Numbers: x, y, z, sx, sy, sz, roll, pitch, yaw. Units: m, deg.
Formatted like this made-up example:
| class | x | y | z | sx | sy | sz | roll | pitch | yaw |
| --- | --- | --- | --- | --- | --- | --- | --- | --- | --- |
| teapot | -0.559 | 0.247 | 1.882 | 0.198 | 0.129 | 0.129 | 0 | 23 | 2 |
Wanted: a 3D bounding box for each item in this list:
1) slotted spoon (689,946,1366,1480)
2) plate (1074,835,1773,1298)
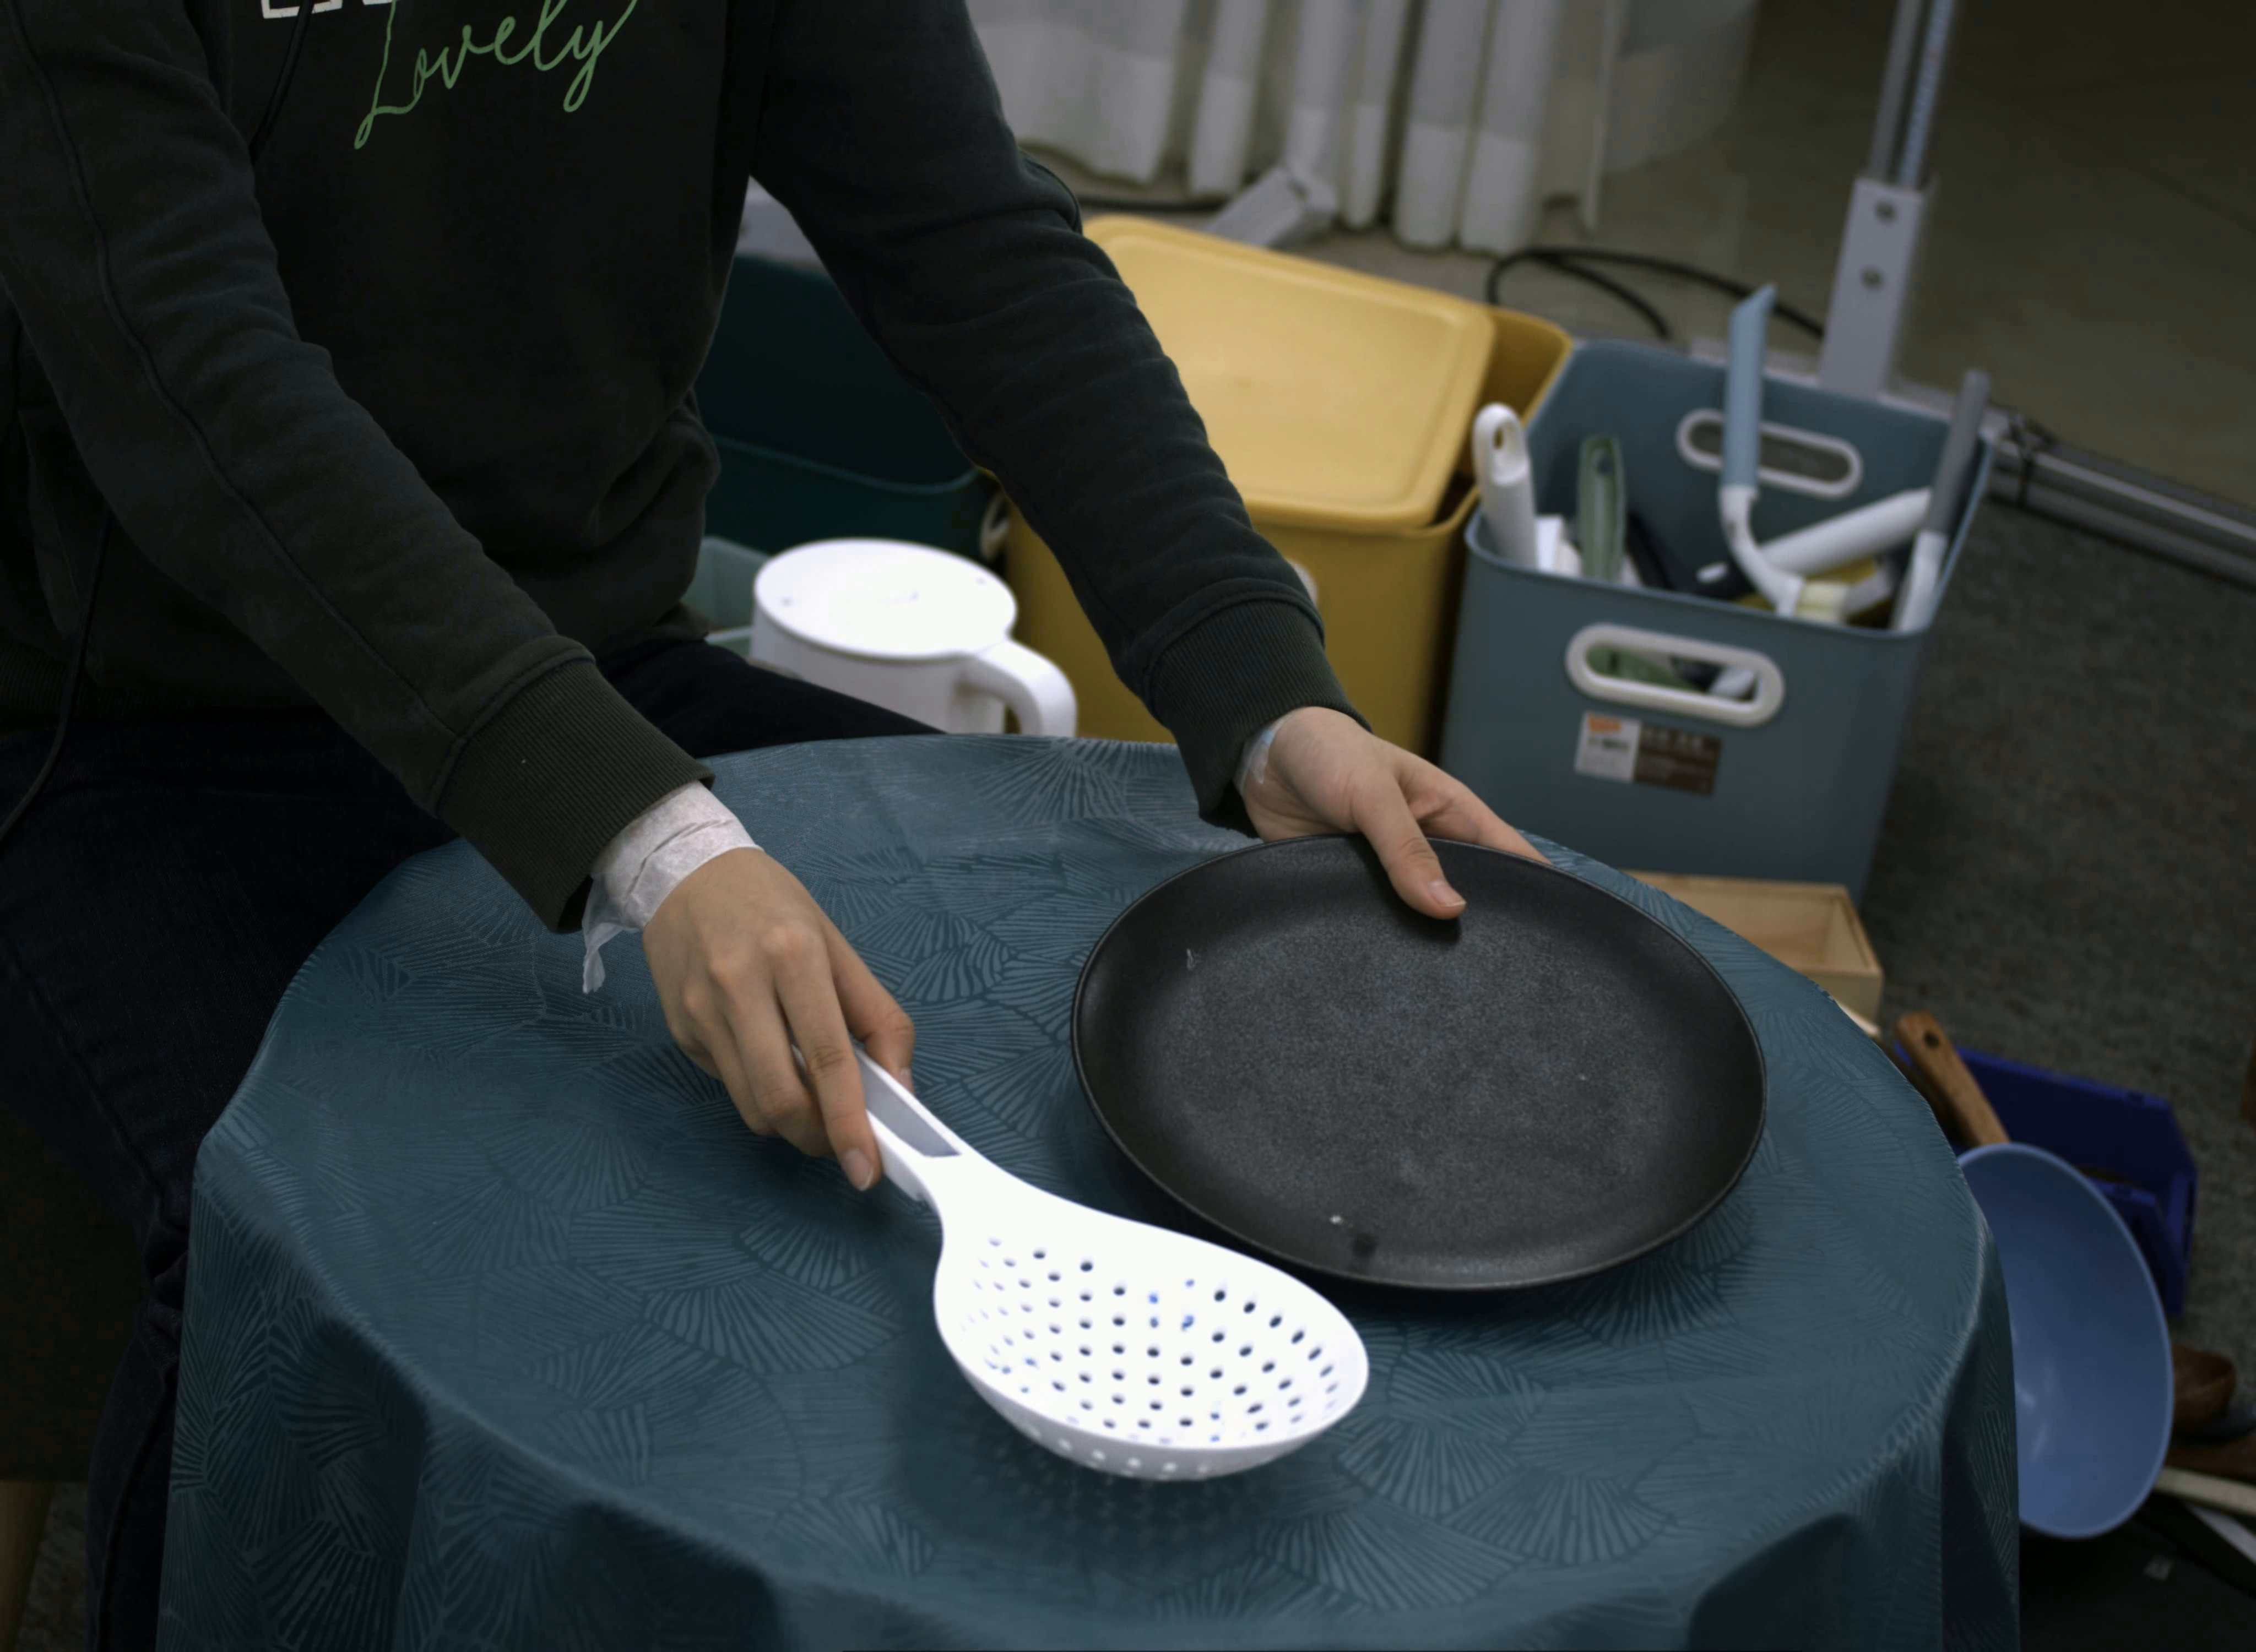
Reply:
| class | x | y | z | sx | sy | sz | roll | pitch | yaw |
| --- | --- | --- | --- | --- | --- | --- | --- | --- | --- |
| slotted spoon | -0.052 | 0.120 | 1.730 | 0.135 | 0.045 | 0.353 | -5 | 32 | -33 |
| plate | 0.101 | 0.085 | 1.837 | 0.243 | 0.023 | 0.246 | 3 | 37 | -3 |
